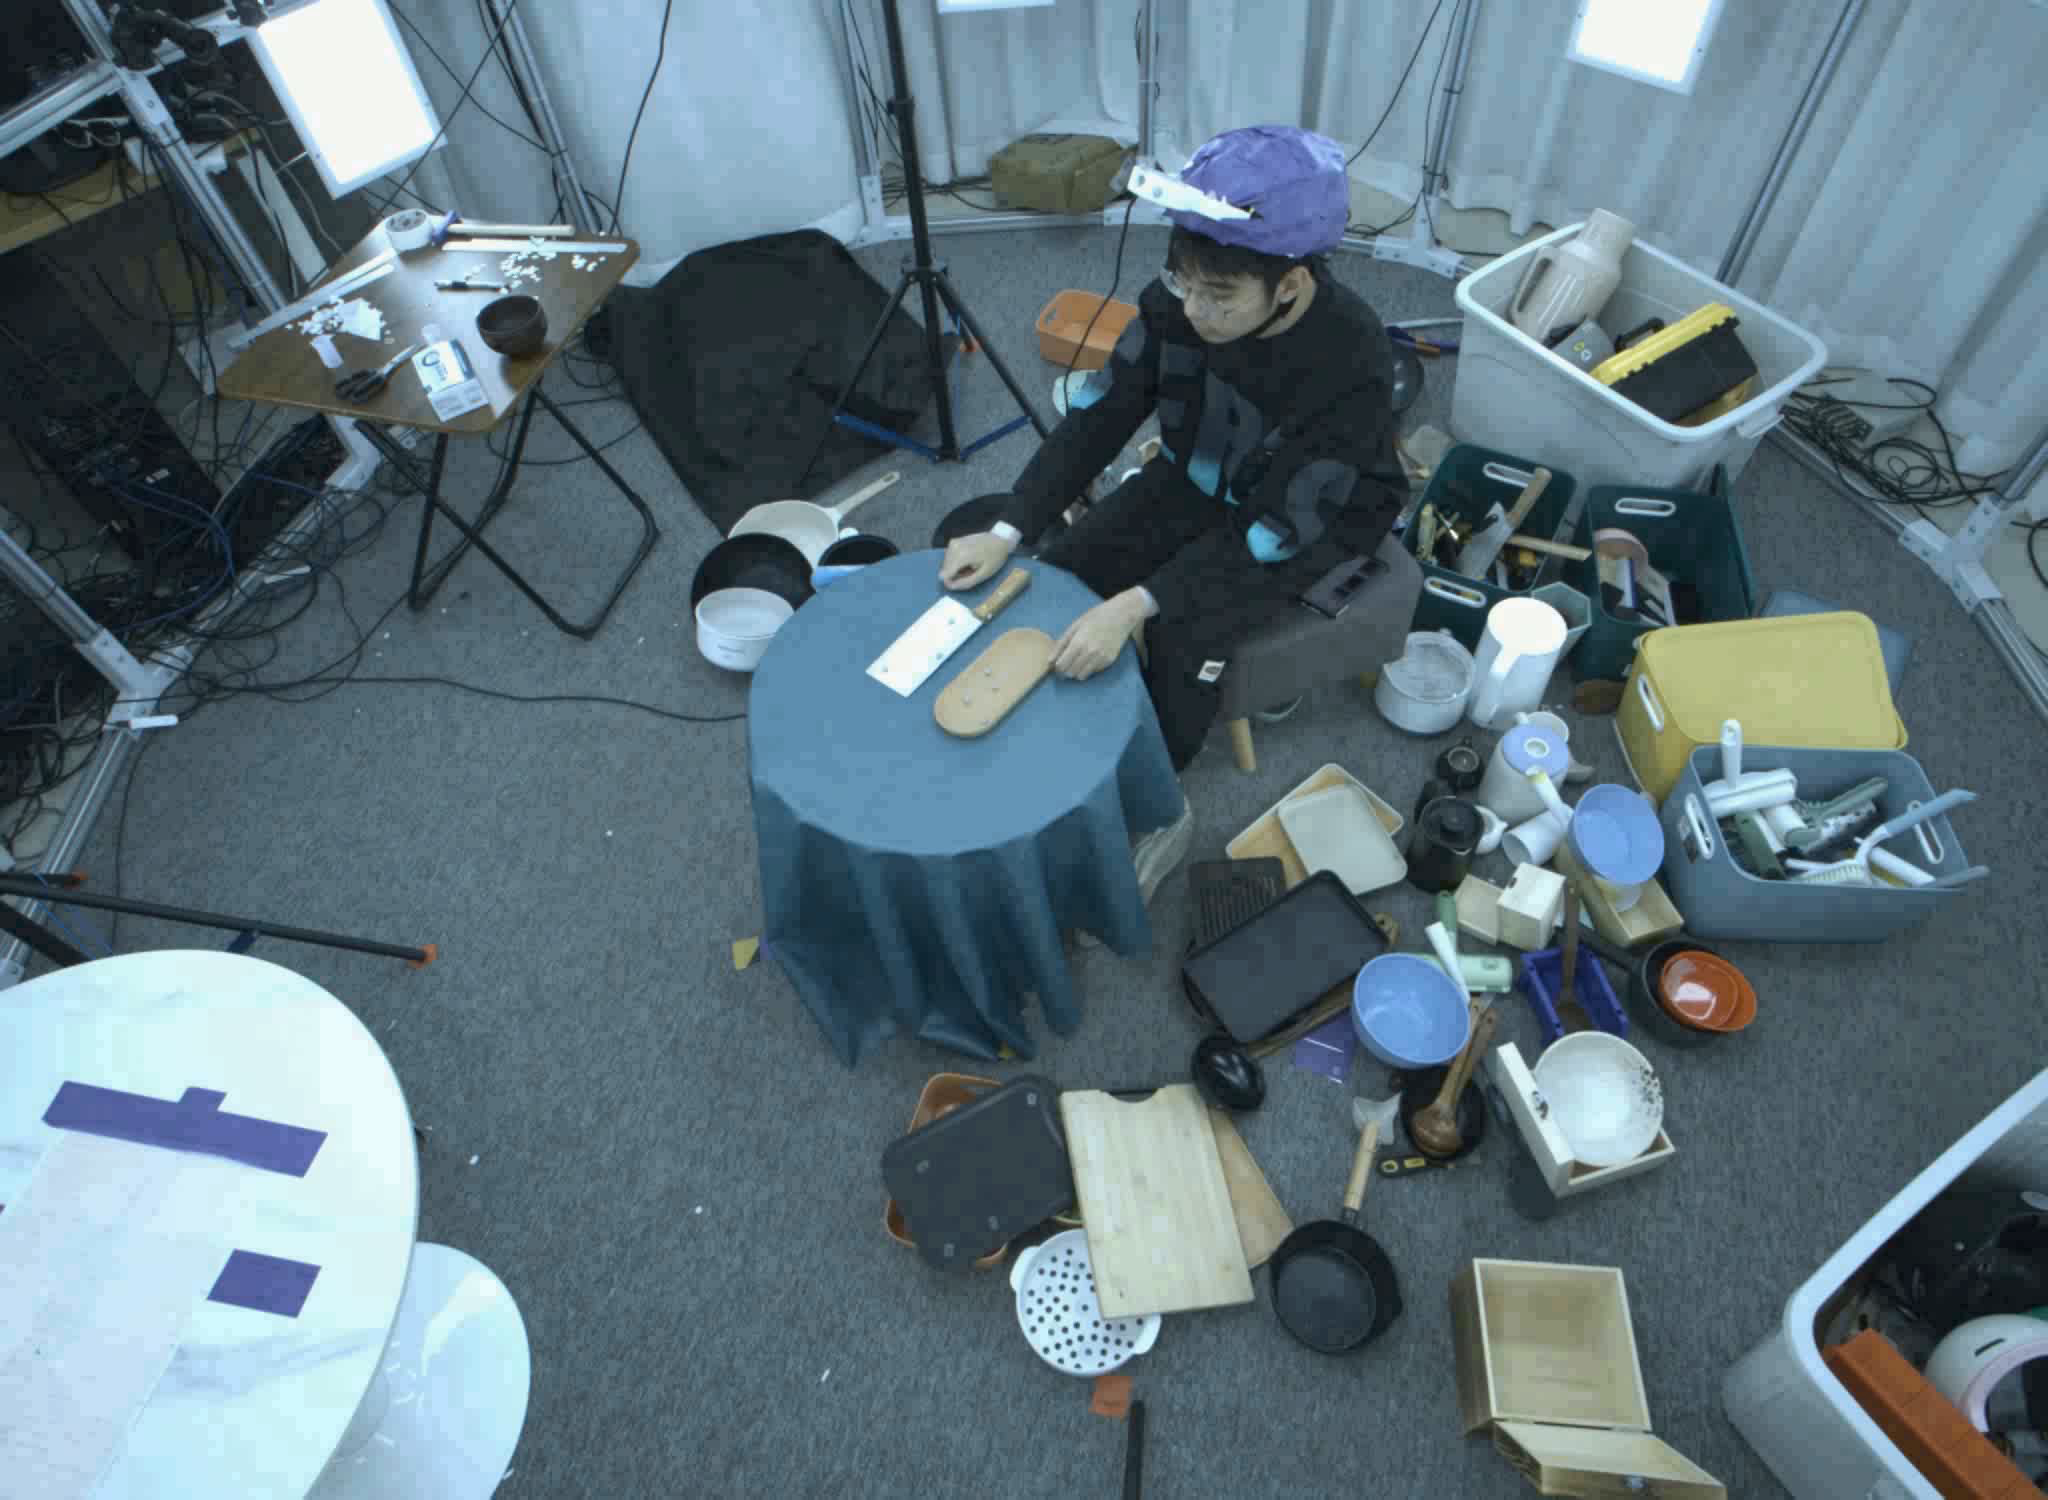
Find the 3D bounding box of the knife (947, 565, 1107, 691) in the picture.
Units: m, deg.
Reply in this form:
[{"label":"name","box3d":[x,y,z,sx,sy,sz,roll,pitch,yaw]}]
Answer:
[{"label":"knife","box3d":[0.001,-0.204,1.922,0.091,0.021,0.307,36,66,26]}]

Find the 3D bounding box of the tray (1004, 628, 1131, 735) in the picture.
[{"label":"tray","box3d":[0.067,-0.104,1.847,0.100,0.020,0.233,38,63,24]}]
